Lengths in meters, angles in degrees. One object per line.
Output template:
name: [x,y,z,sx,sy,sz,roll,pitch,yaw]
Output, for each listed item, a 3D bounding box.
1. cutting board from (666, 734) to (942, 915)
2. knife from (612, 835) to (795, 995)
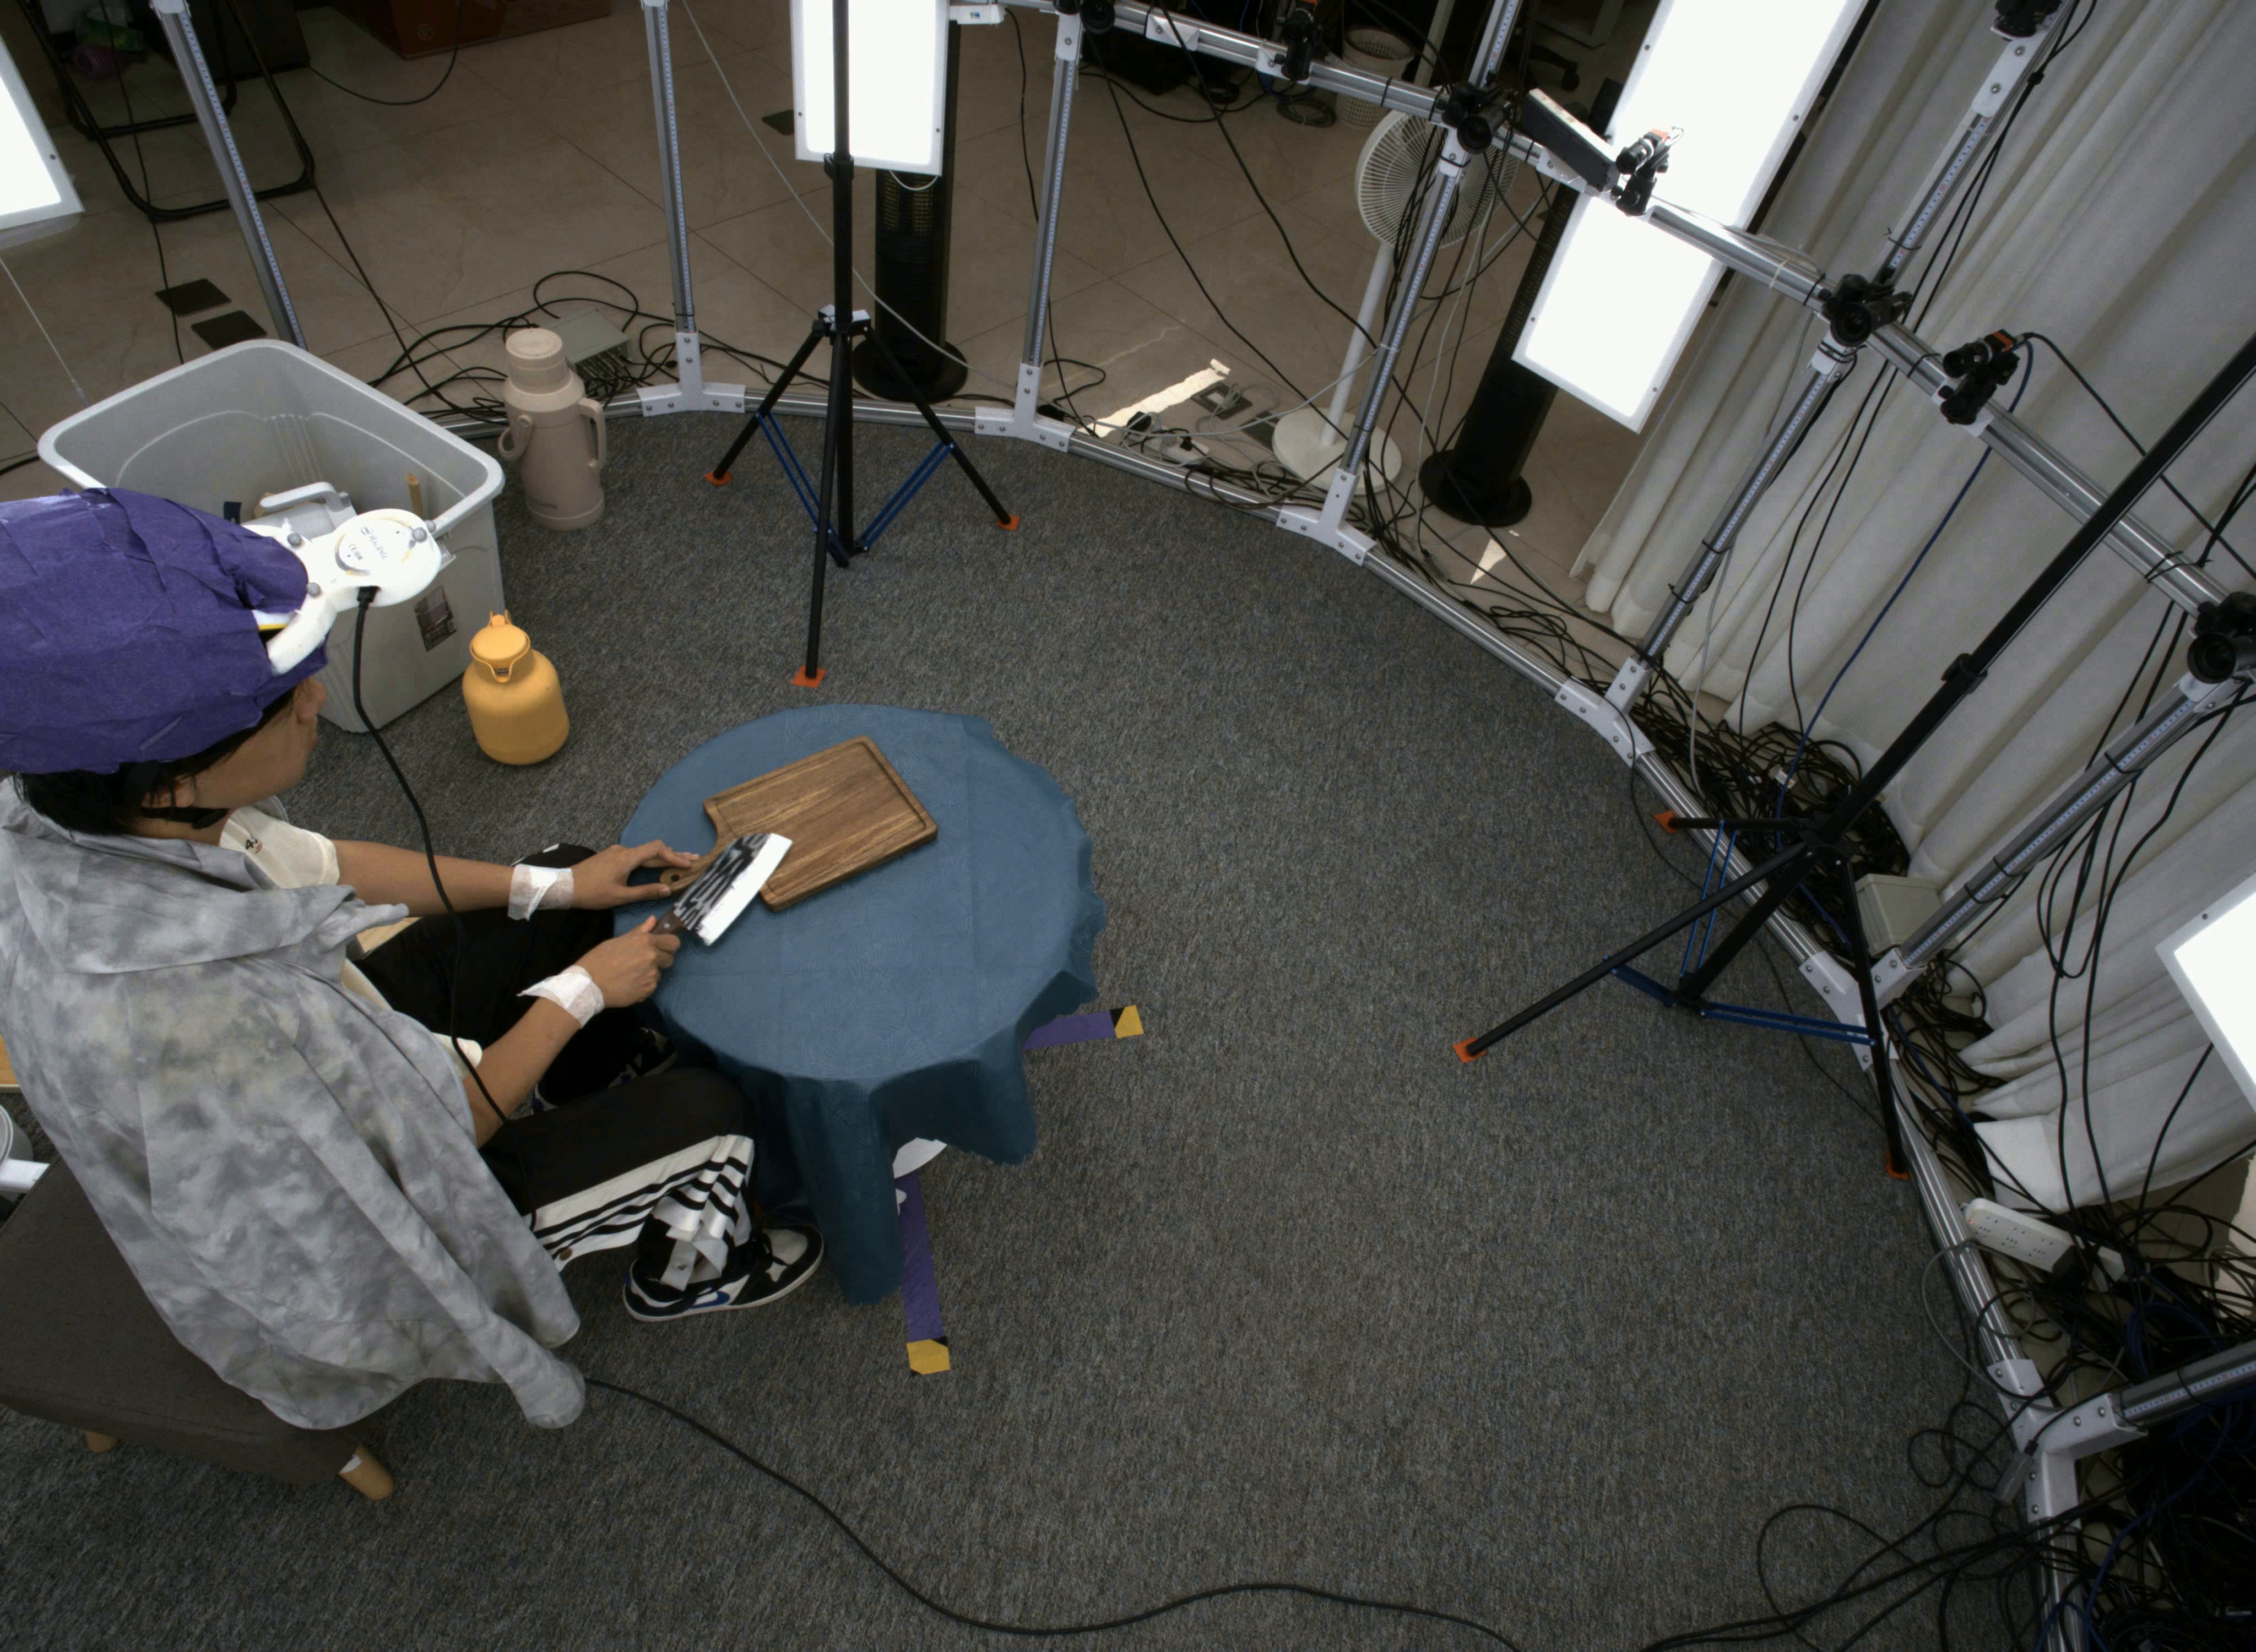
cutting board: [-0.441,0.010,1.701,0.353,0.023,0.196,-27,64,-29]
knife: [-0.518,0.105,1.588,0.069,0.024,0.298,41,54,-8]
